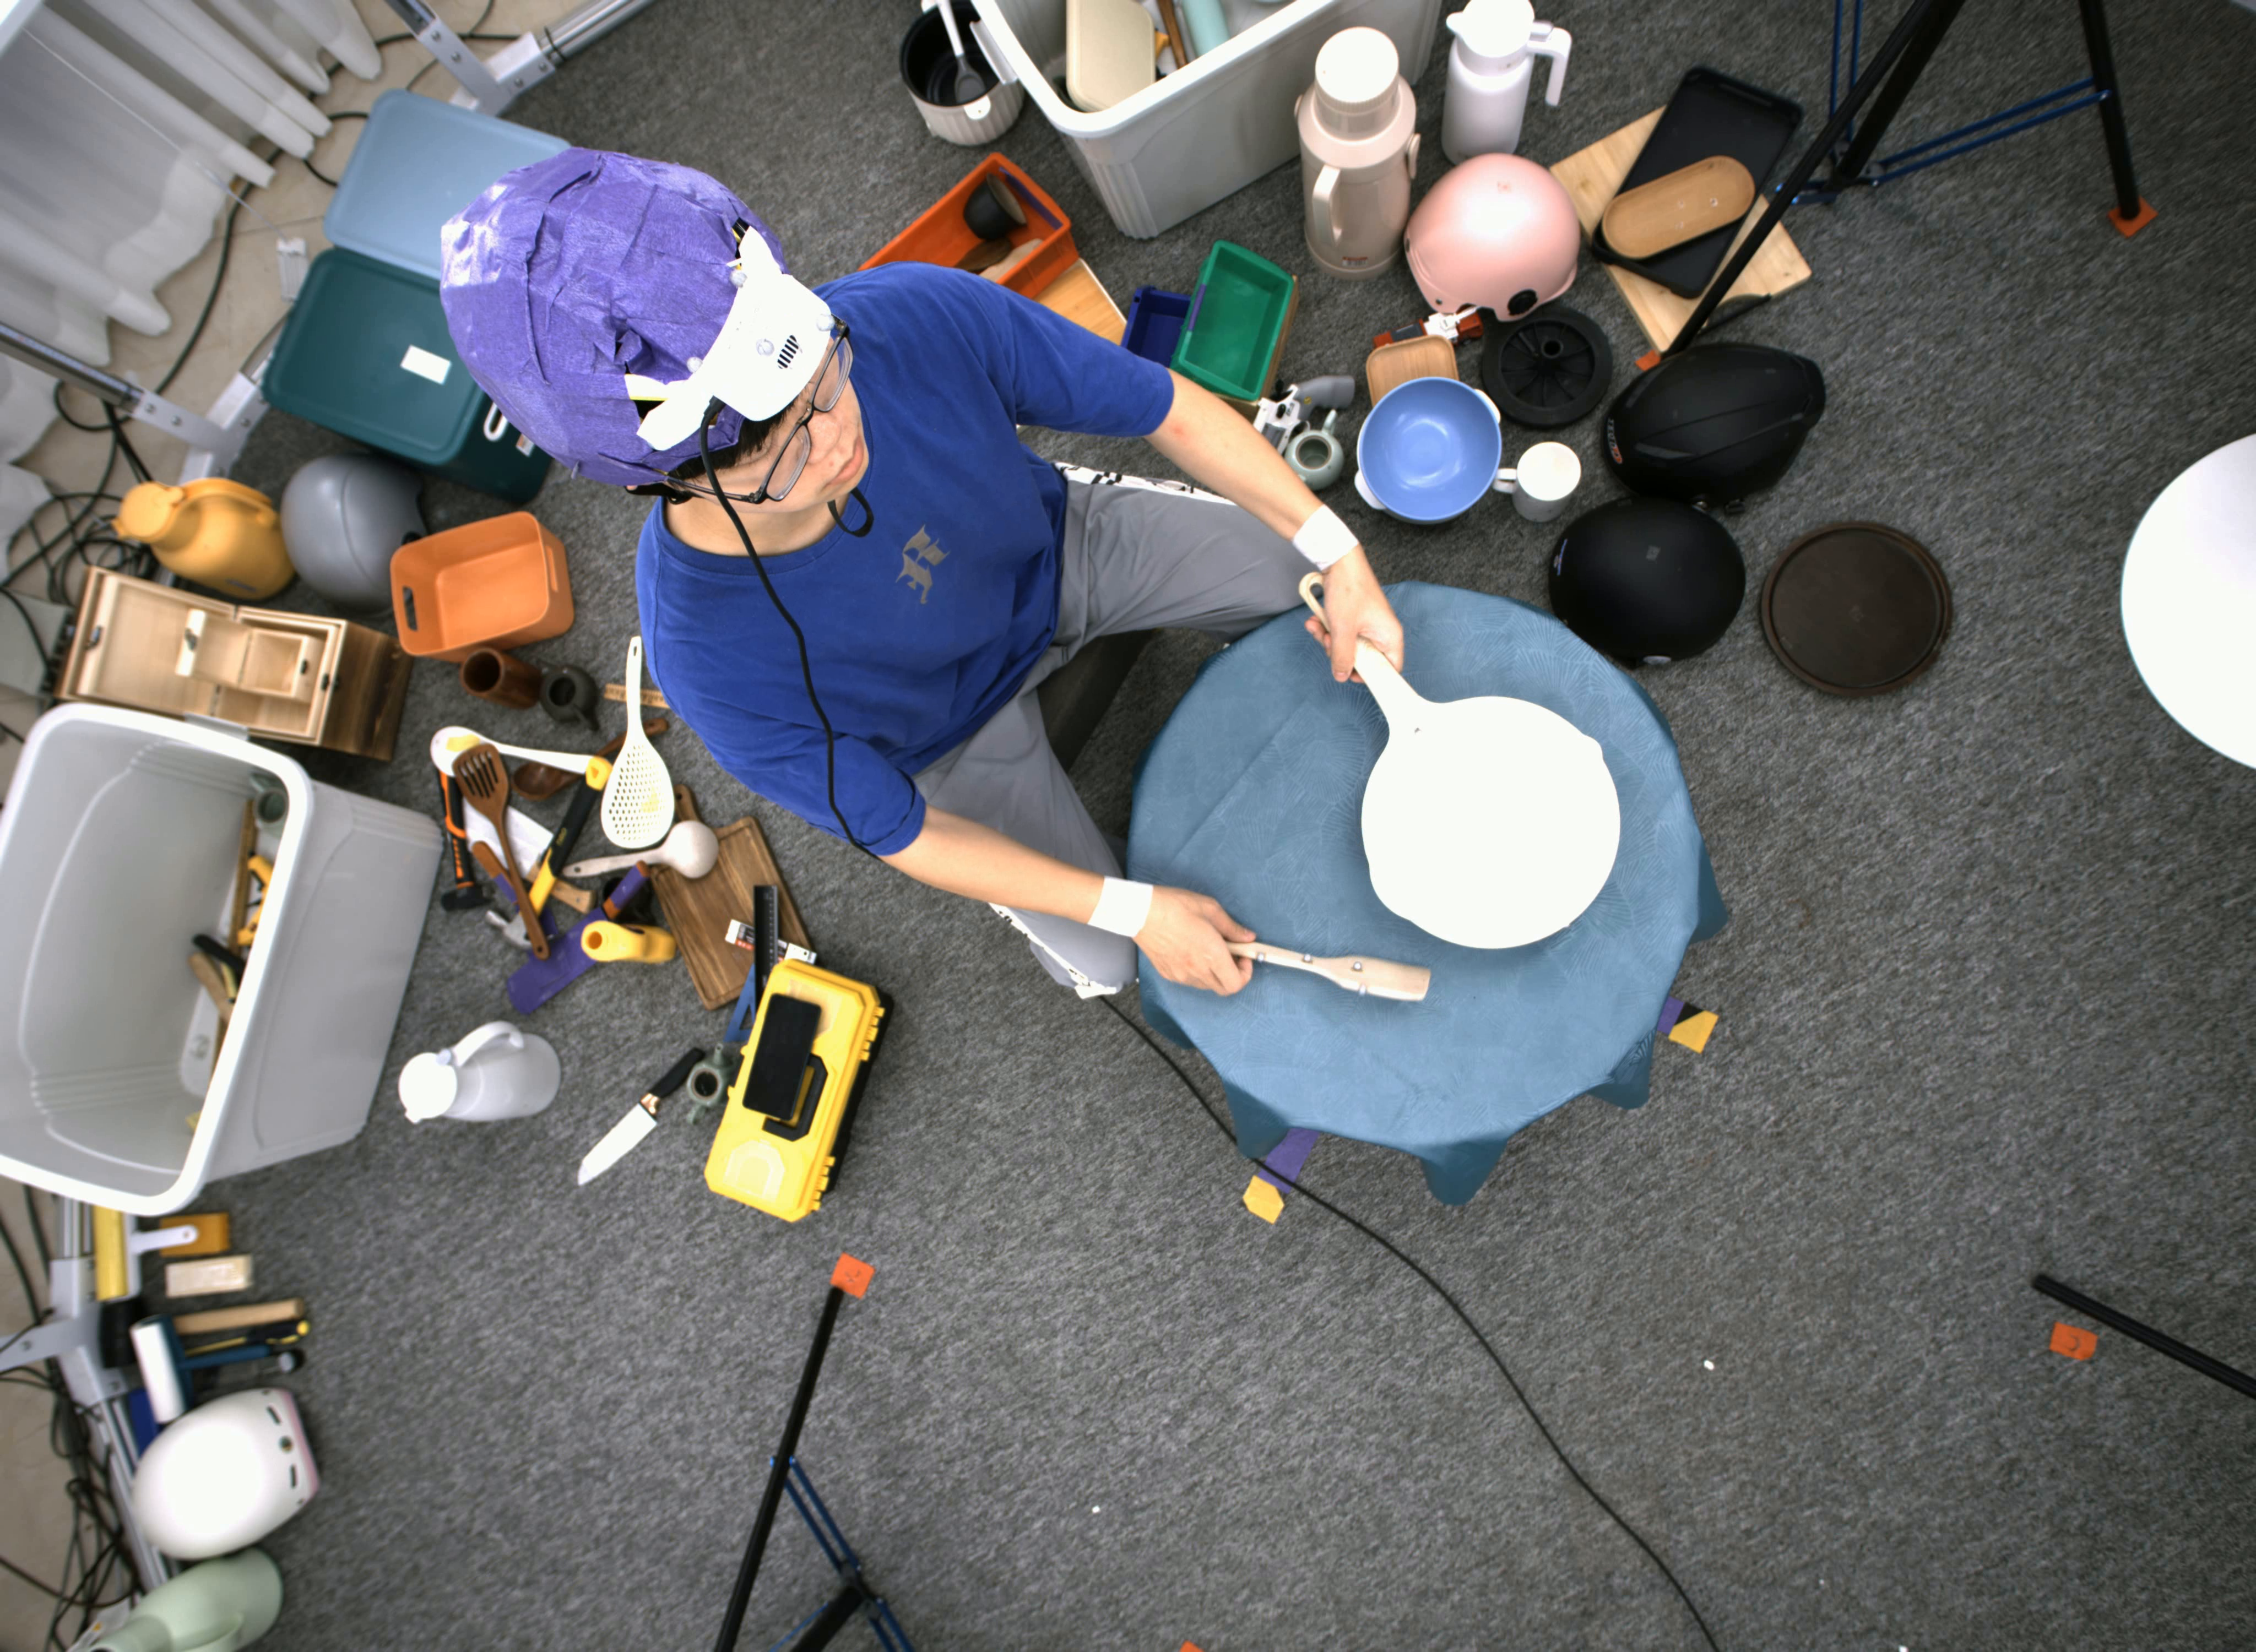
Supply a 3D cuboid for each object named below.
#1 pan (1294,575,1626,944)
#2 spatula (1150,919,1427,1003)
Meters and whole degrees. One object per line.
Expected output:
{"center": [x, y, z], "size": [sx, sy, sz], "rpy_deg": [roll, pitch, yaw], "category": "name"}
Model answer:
{"center": [0.316, -0.080, 1.407], "size": [0.265, 0.102, 0.432], "rpy_deg": [-38, 81, 8], "category": "pan"}
{"center": [0.164, 0.135, 1.448], "size": [0.293, 0.070, 0.011], "rpy_deg": [11, 119, 14], "category": "spatula"}
